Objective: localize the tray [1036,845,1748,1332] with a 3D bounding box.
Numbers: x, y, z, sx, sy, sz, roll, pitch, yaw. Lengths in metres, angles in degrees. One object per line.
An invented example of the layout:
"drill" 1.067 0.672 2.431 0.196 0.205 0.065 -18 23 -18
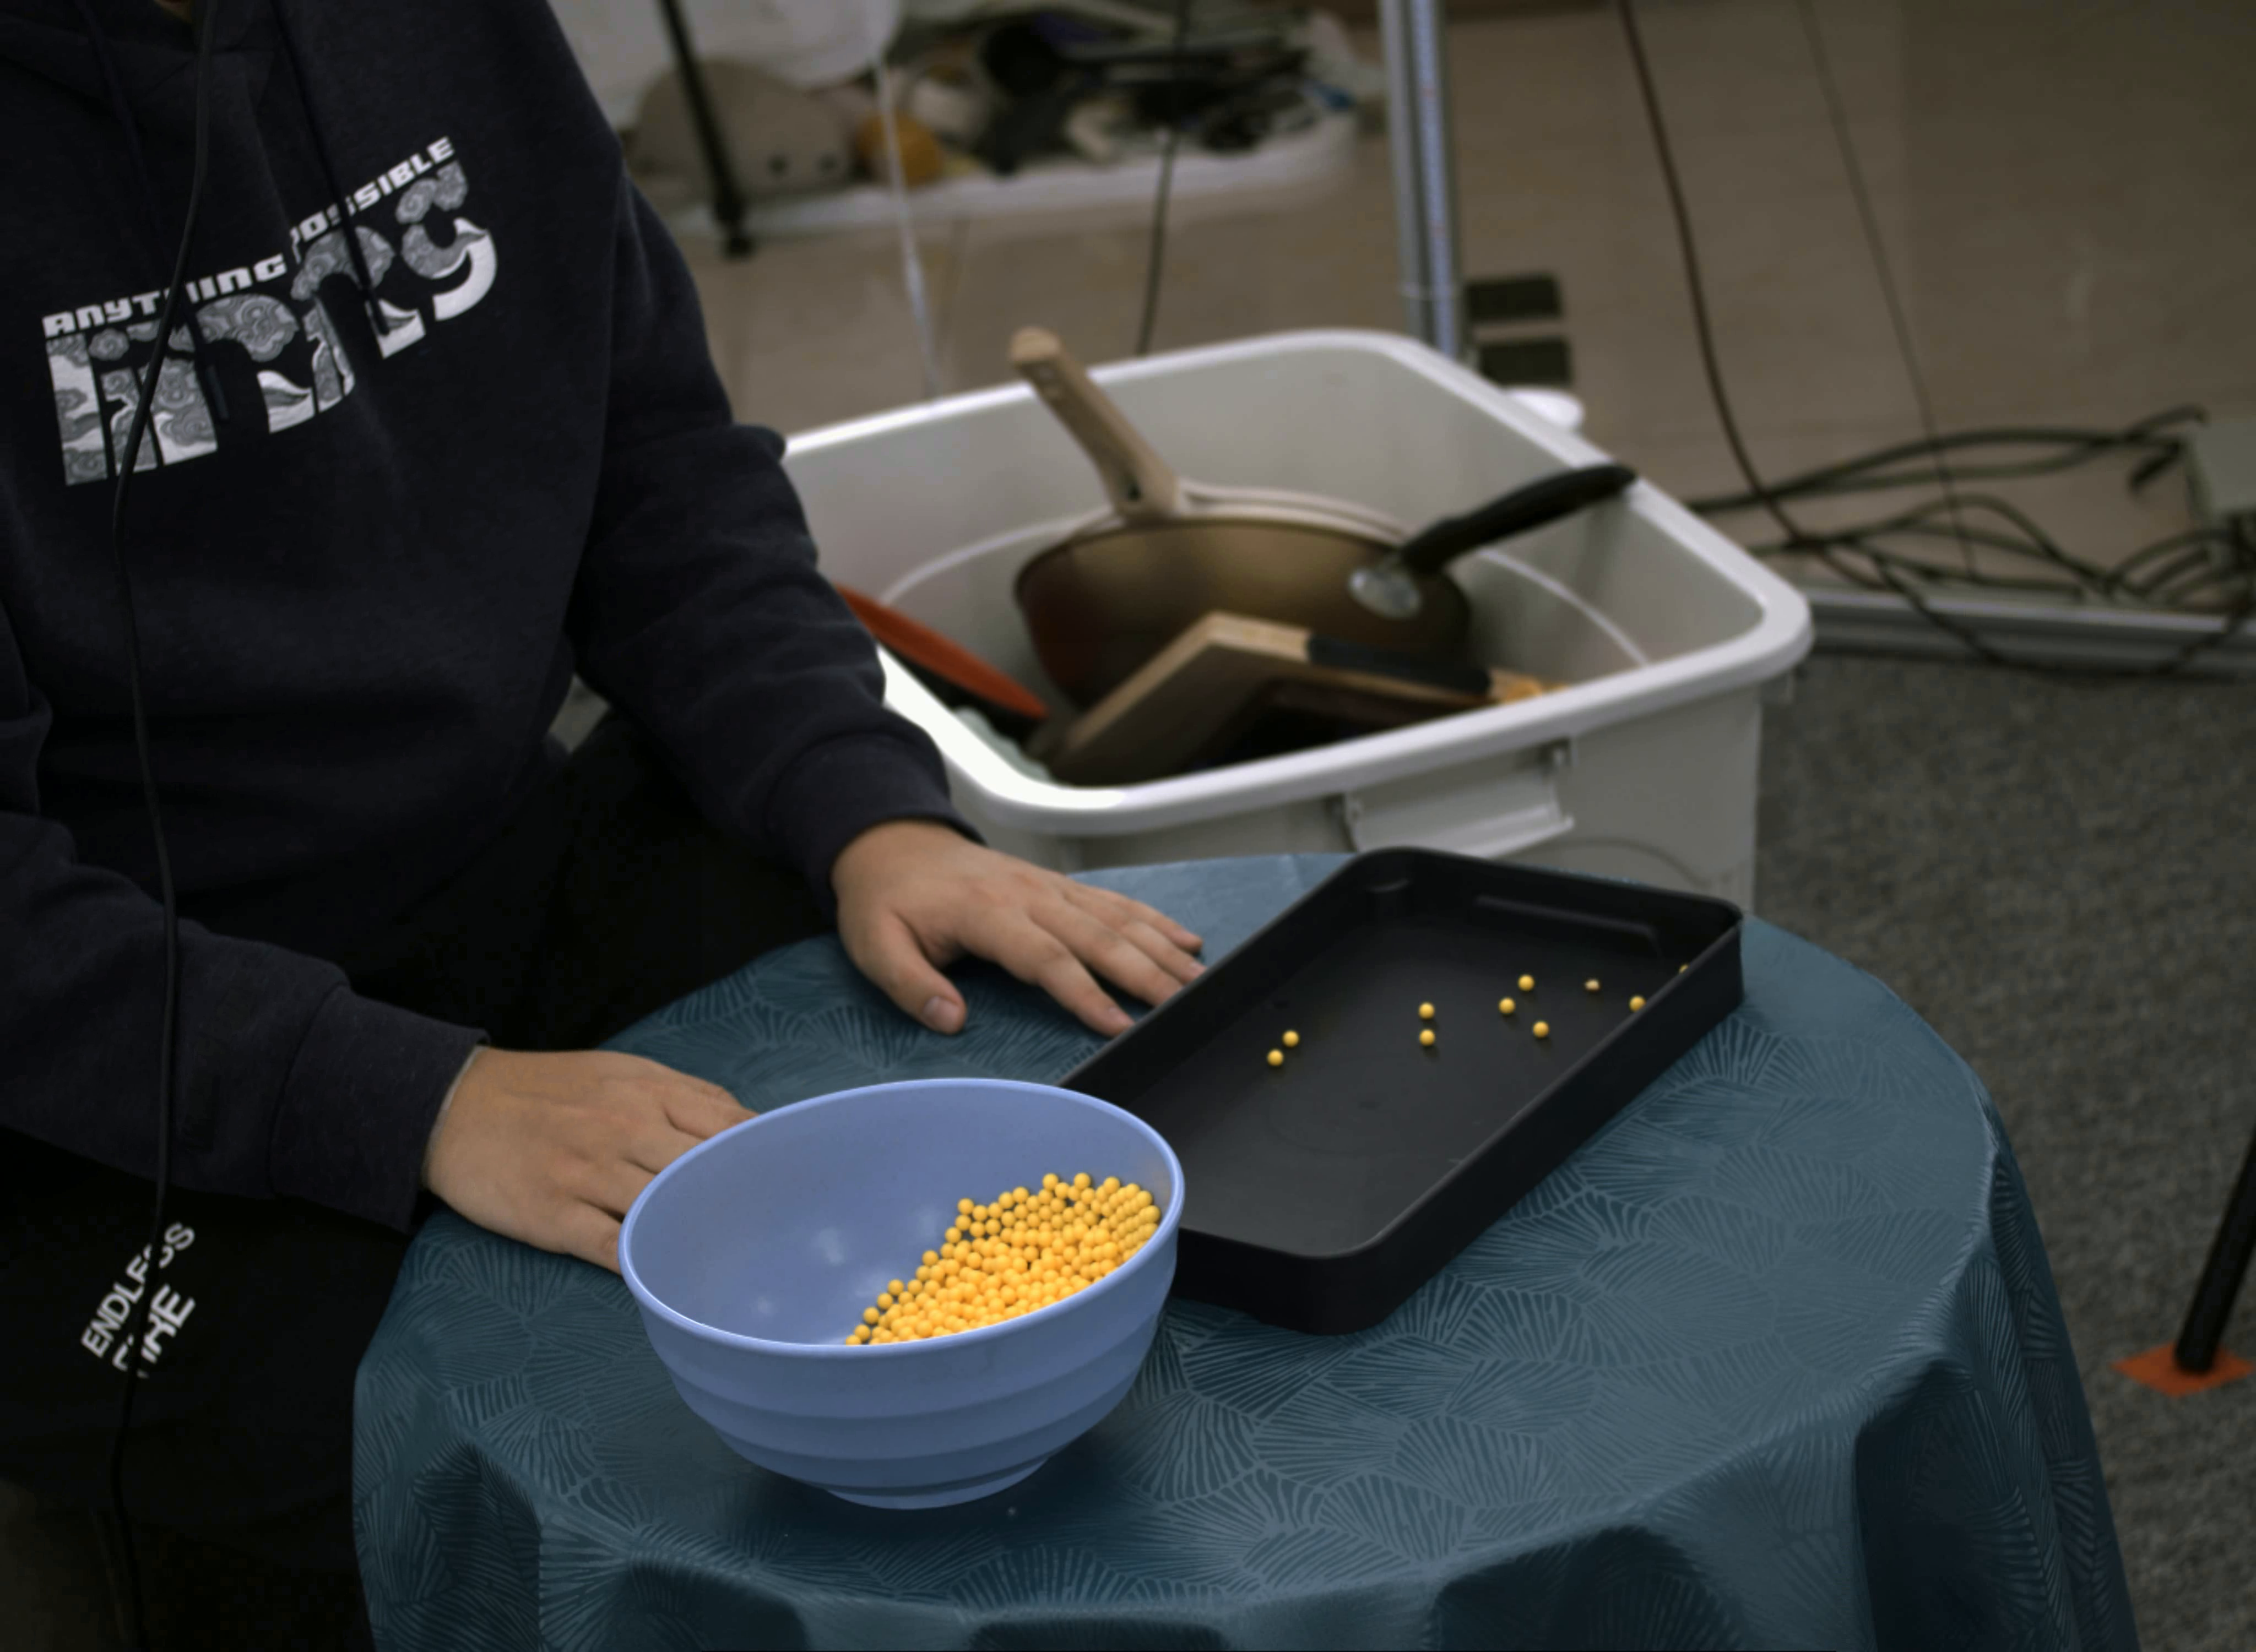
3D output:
"tray" 0.091 0.095 2.177 0.183 0.037 0.314 11 29 33

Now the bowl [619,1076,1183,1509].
"bowl" -0.073 0.173 1.976 0.196 0.097 0.193 -6 25 3
